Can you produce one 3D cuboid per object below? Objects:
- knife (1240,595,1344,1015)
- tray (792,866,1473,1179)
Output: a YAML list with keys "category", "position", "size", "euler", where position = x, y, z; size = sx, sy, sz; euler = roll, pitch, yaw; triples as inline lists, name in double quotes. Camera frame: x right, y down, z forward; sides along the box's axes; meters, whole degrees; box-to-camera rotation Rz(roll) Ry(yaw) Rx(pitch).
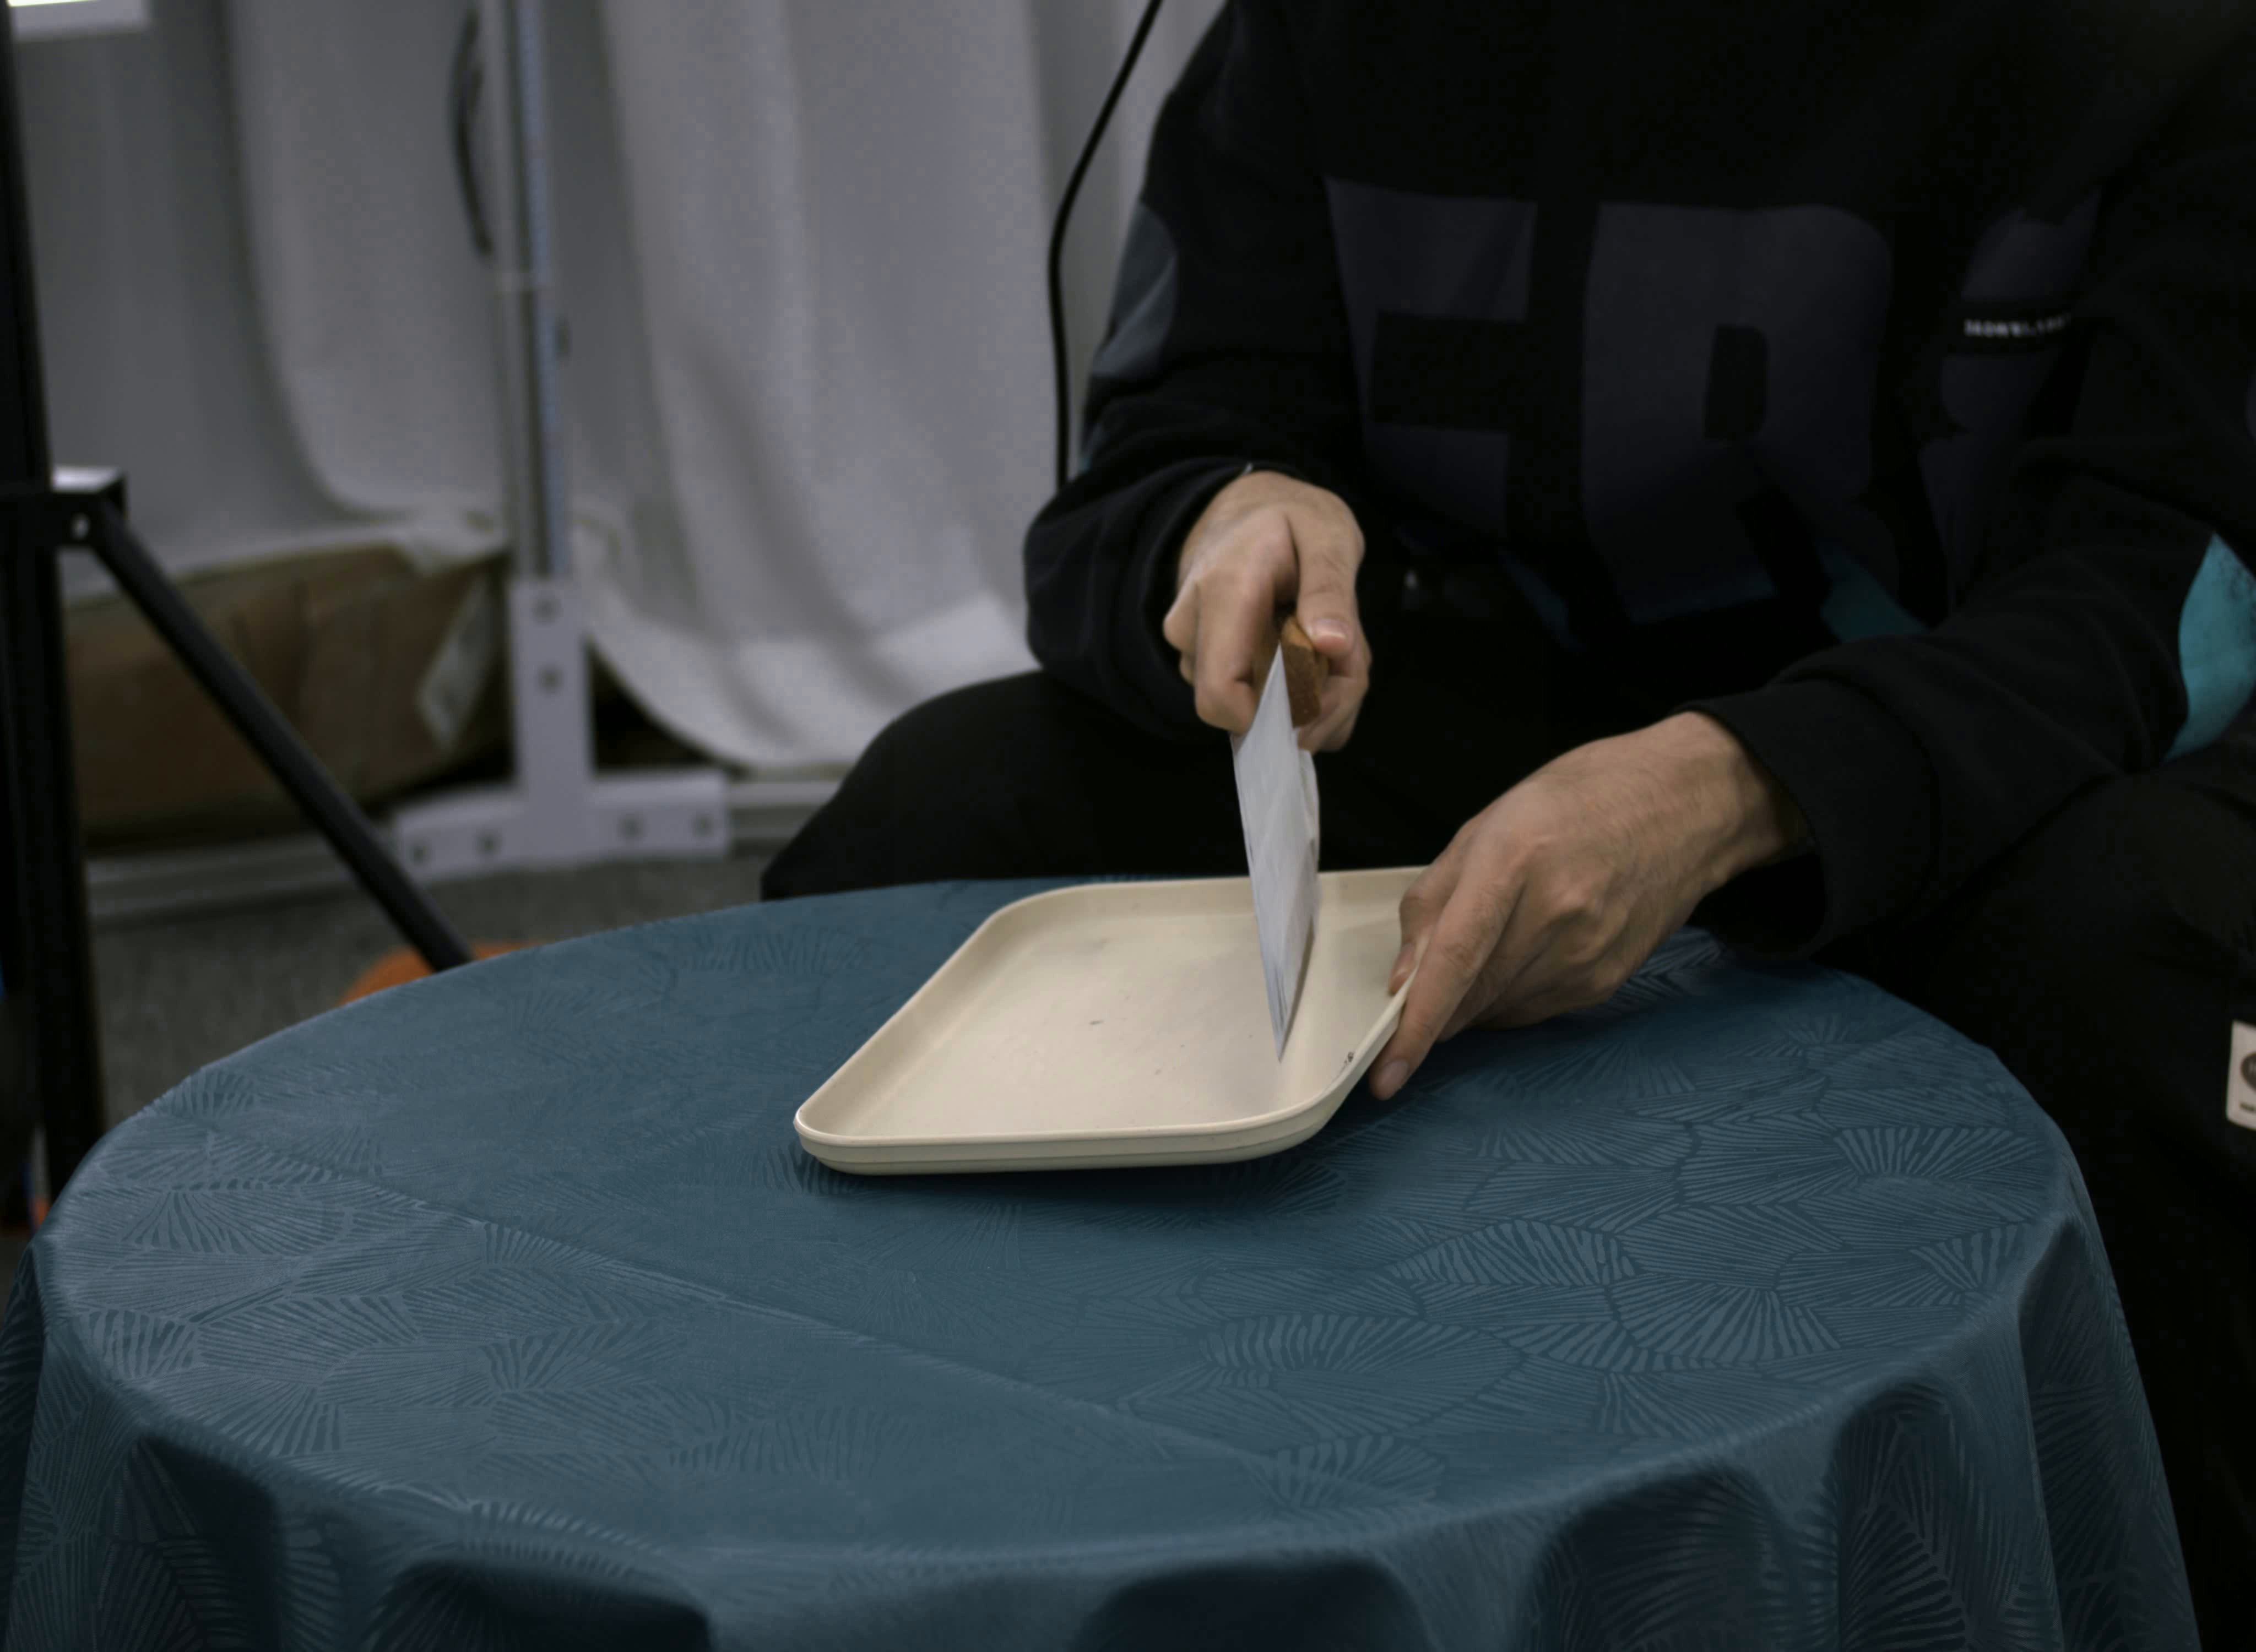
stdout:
- category: "knife"
  position: [0.052, -0.008, 1.682]
  size: [0.021, 0.093, 0.305]
  euler: [-7, 12, 7]
- category: "tray"
  position: [0.007, 0.061, 1.653]
  size: [0.173, 0.017, 0.237]
  euler: [-4, 17, 20]
